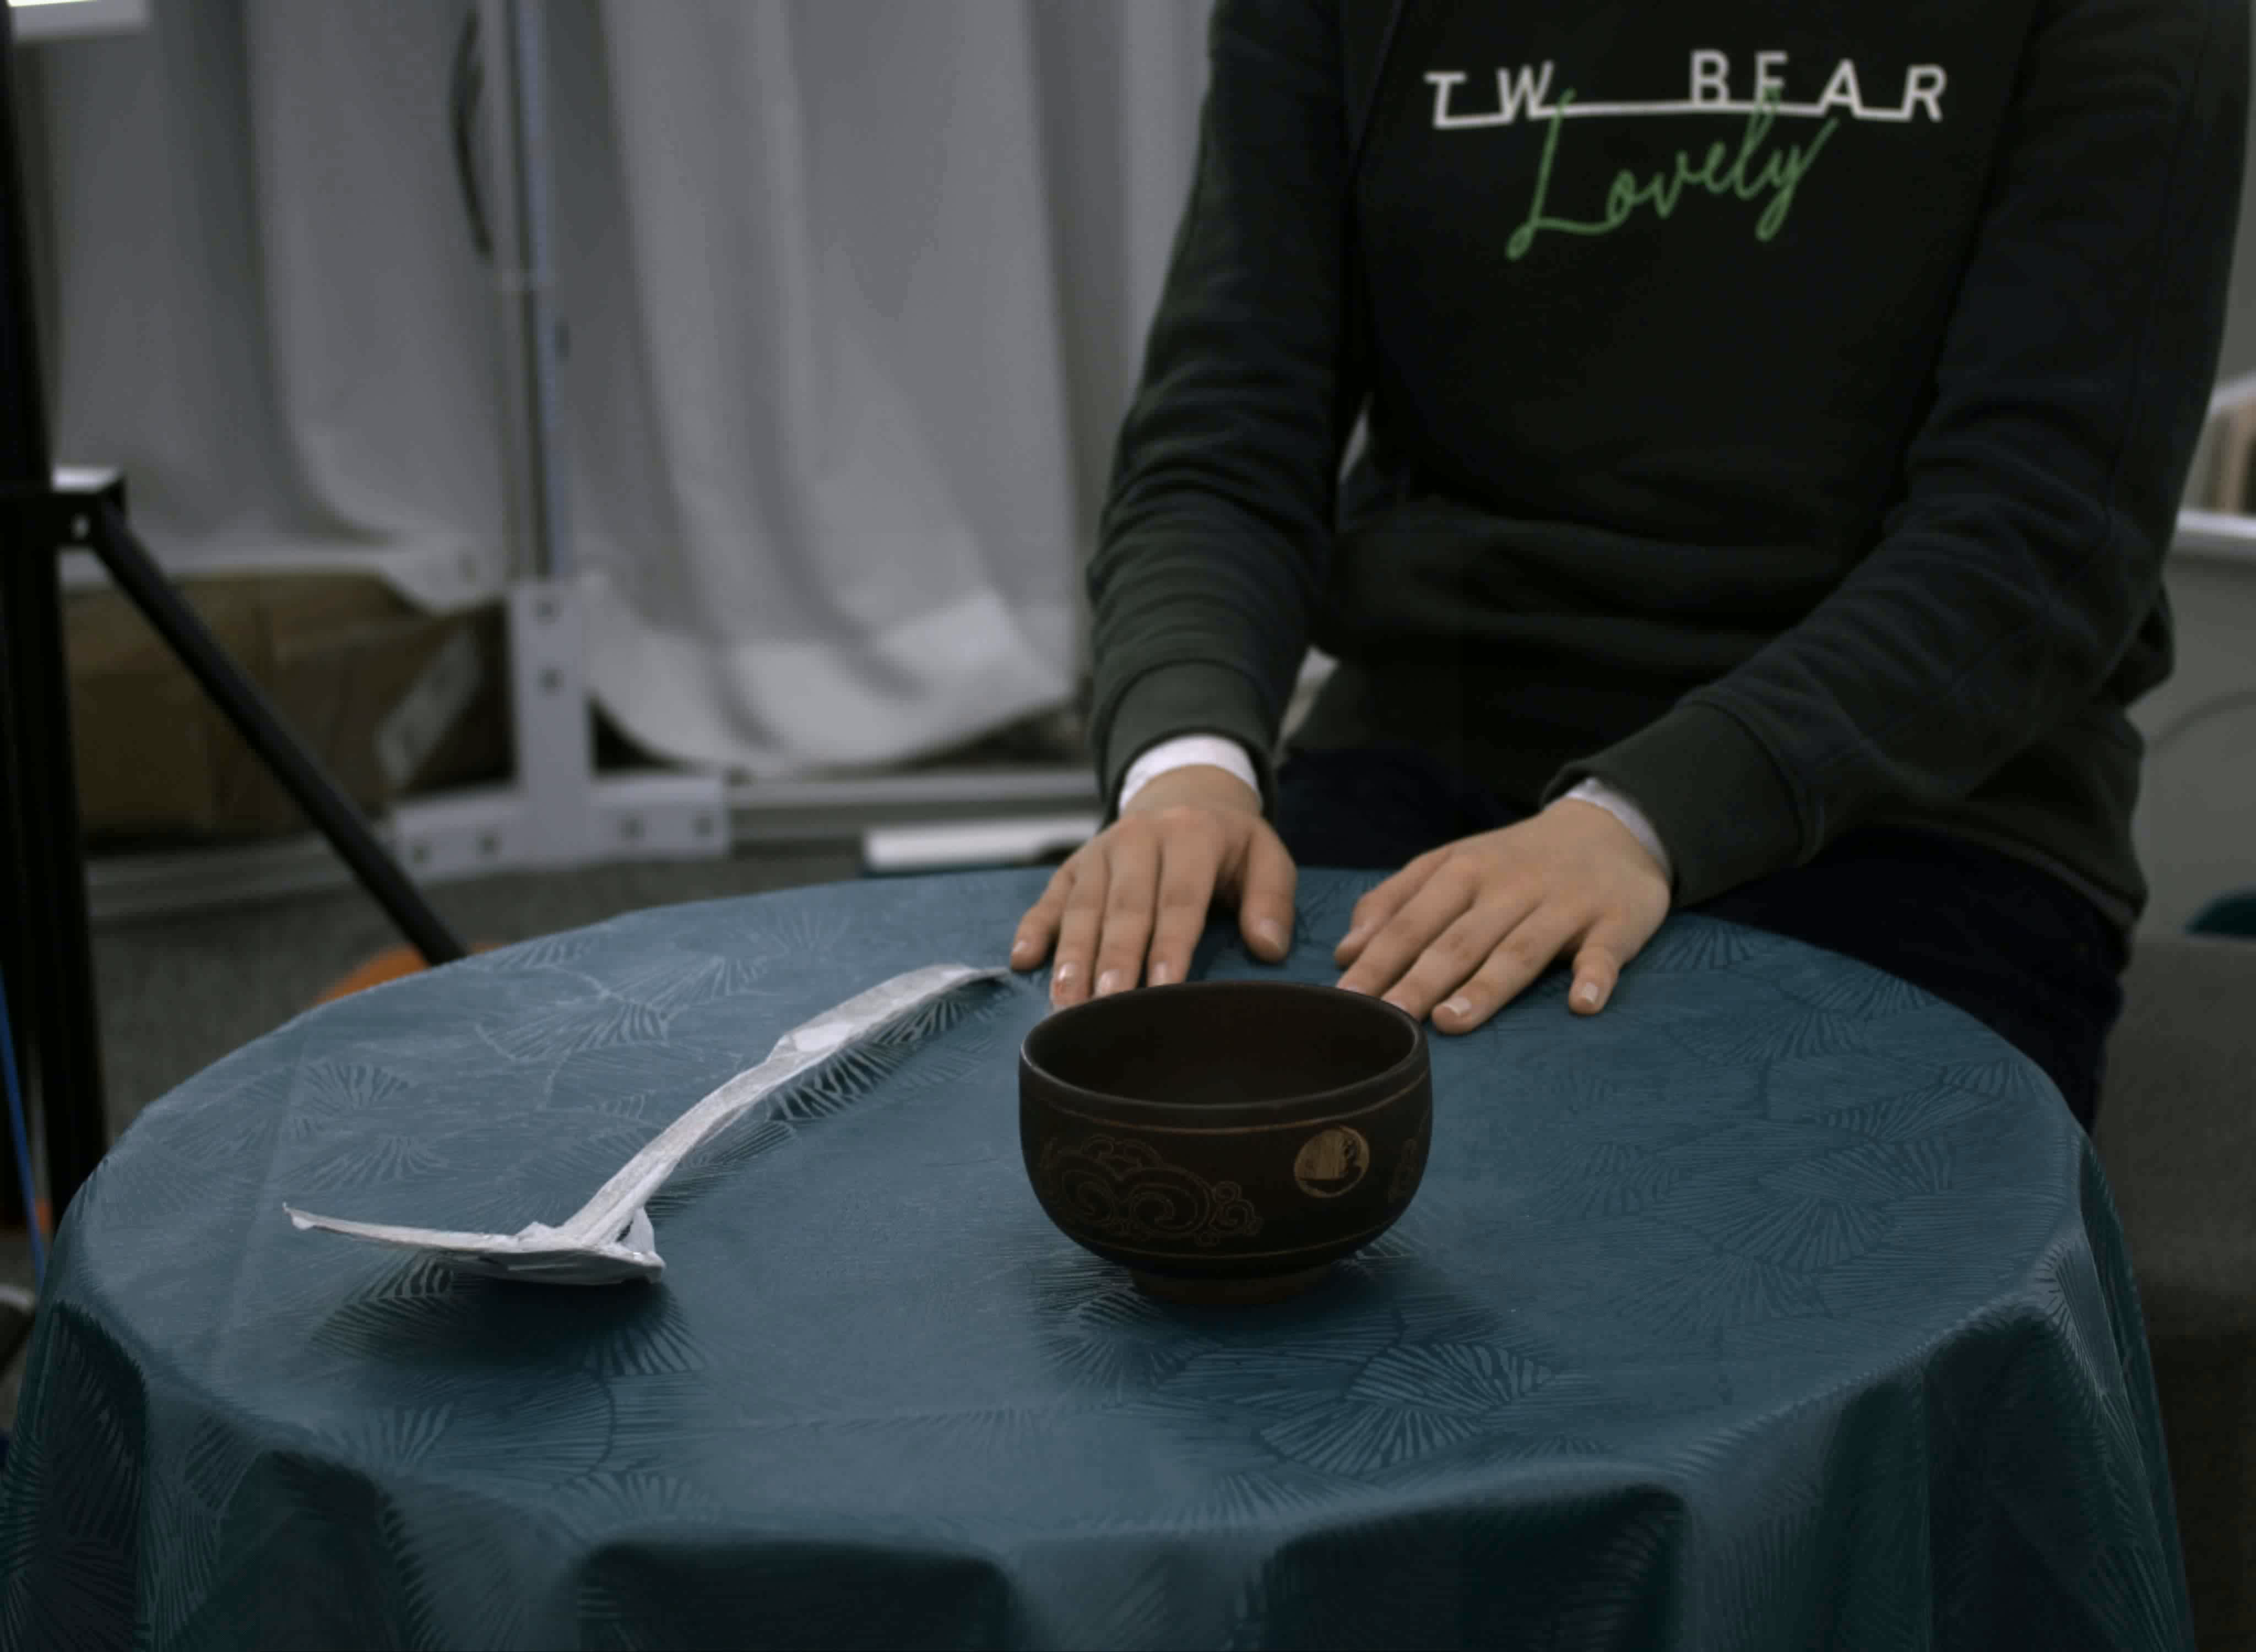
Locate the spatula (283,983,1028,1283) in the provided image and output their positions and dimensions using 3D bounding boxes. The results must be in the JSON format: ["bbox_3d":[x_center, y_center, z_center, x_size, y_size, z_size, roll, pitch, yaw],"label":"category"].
[{"bbox_3d":[-0.120,0.082,1.599,0.100,0.045,0.359,3,17,26],"label":"spatula"}]

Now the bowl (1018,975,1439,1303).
[{"bbox_3d":[0.028,0.091,1.481,0.117,0.070,0.118,-1,16,-1],"label":"bowl"}]
